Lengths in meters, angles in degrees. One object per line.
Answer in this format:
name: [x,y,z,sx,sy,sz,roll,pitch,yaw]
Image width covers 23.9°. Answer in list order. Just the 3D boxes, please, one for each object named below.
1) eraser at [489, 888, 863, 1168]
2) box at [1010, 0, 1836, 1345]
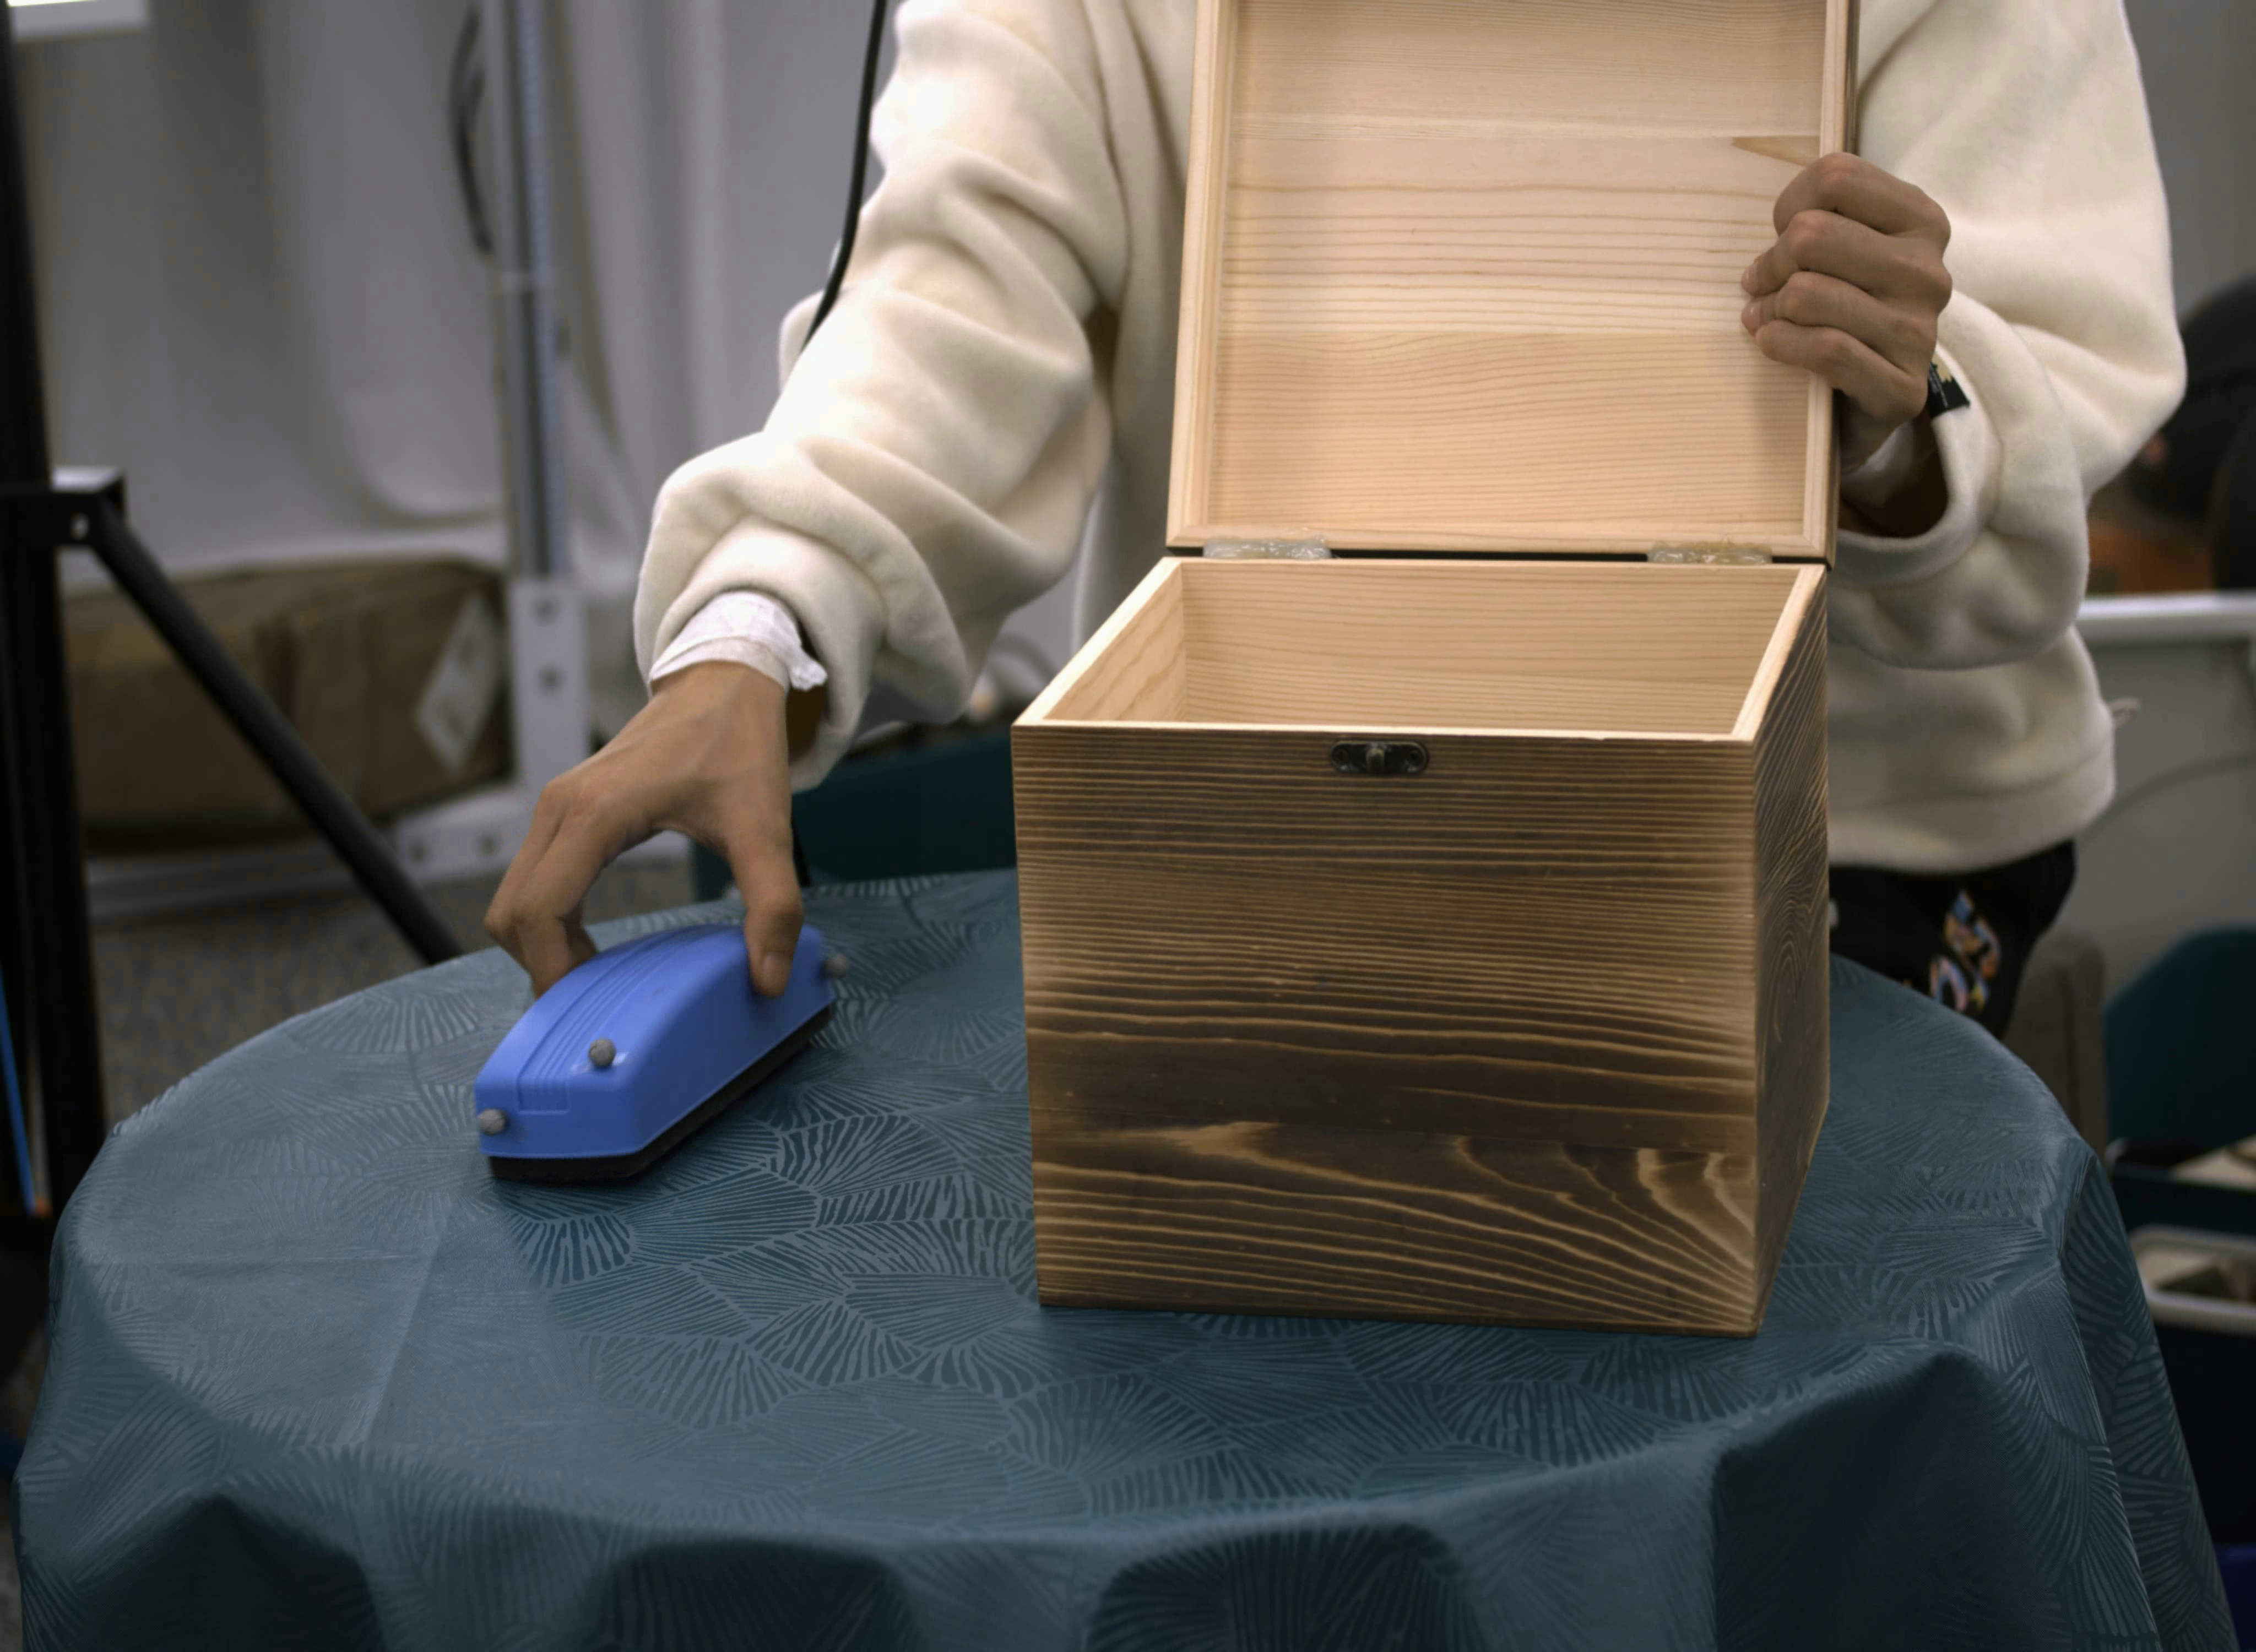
eraser: [-0.139,0.056,1.648,0.054,0.047,0.160,-8,15,26]
box: [0.097,-0.076,1.540,0.210,0.375,0.320,1,14,14]
